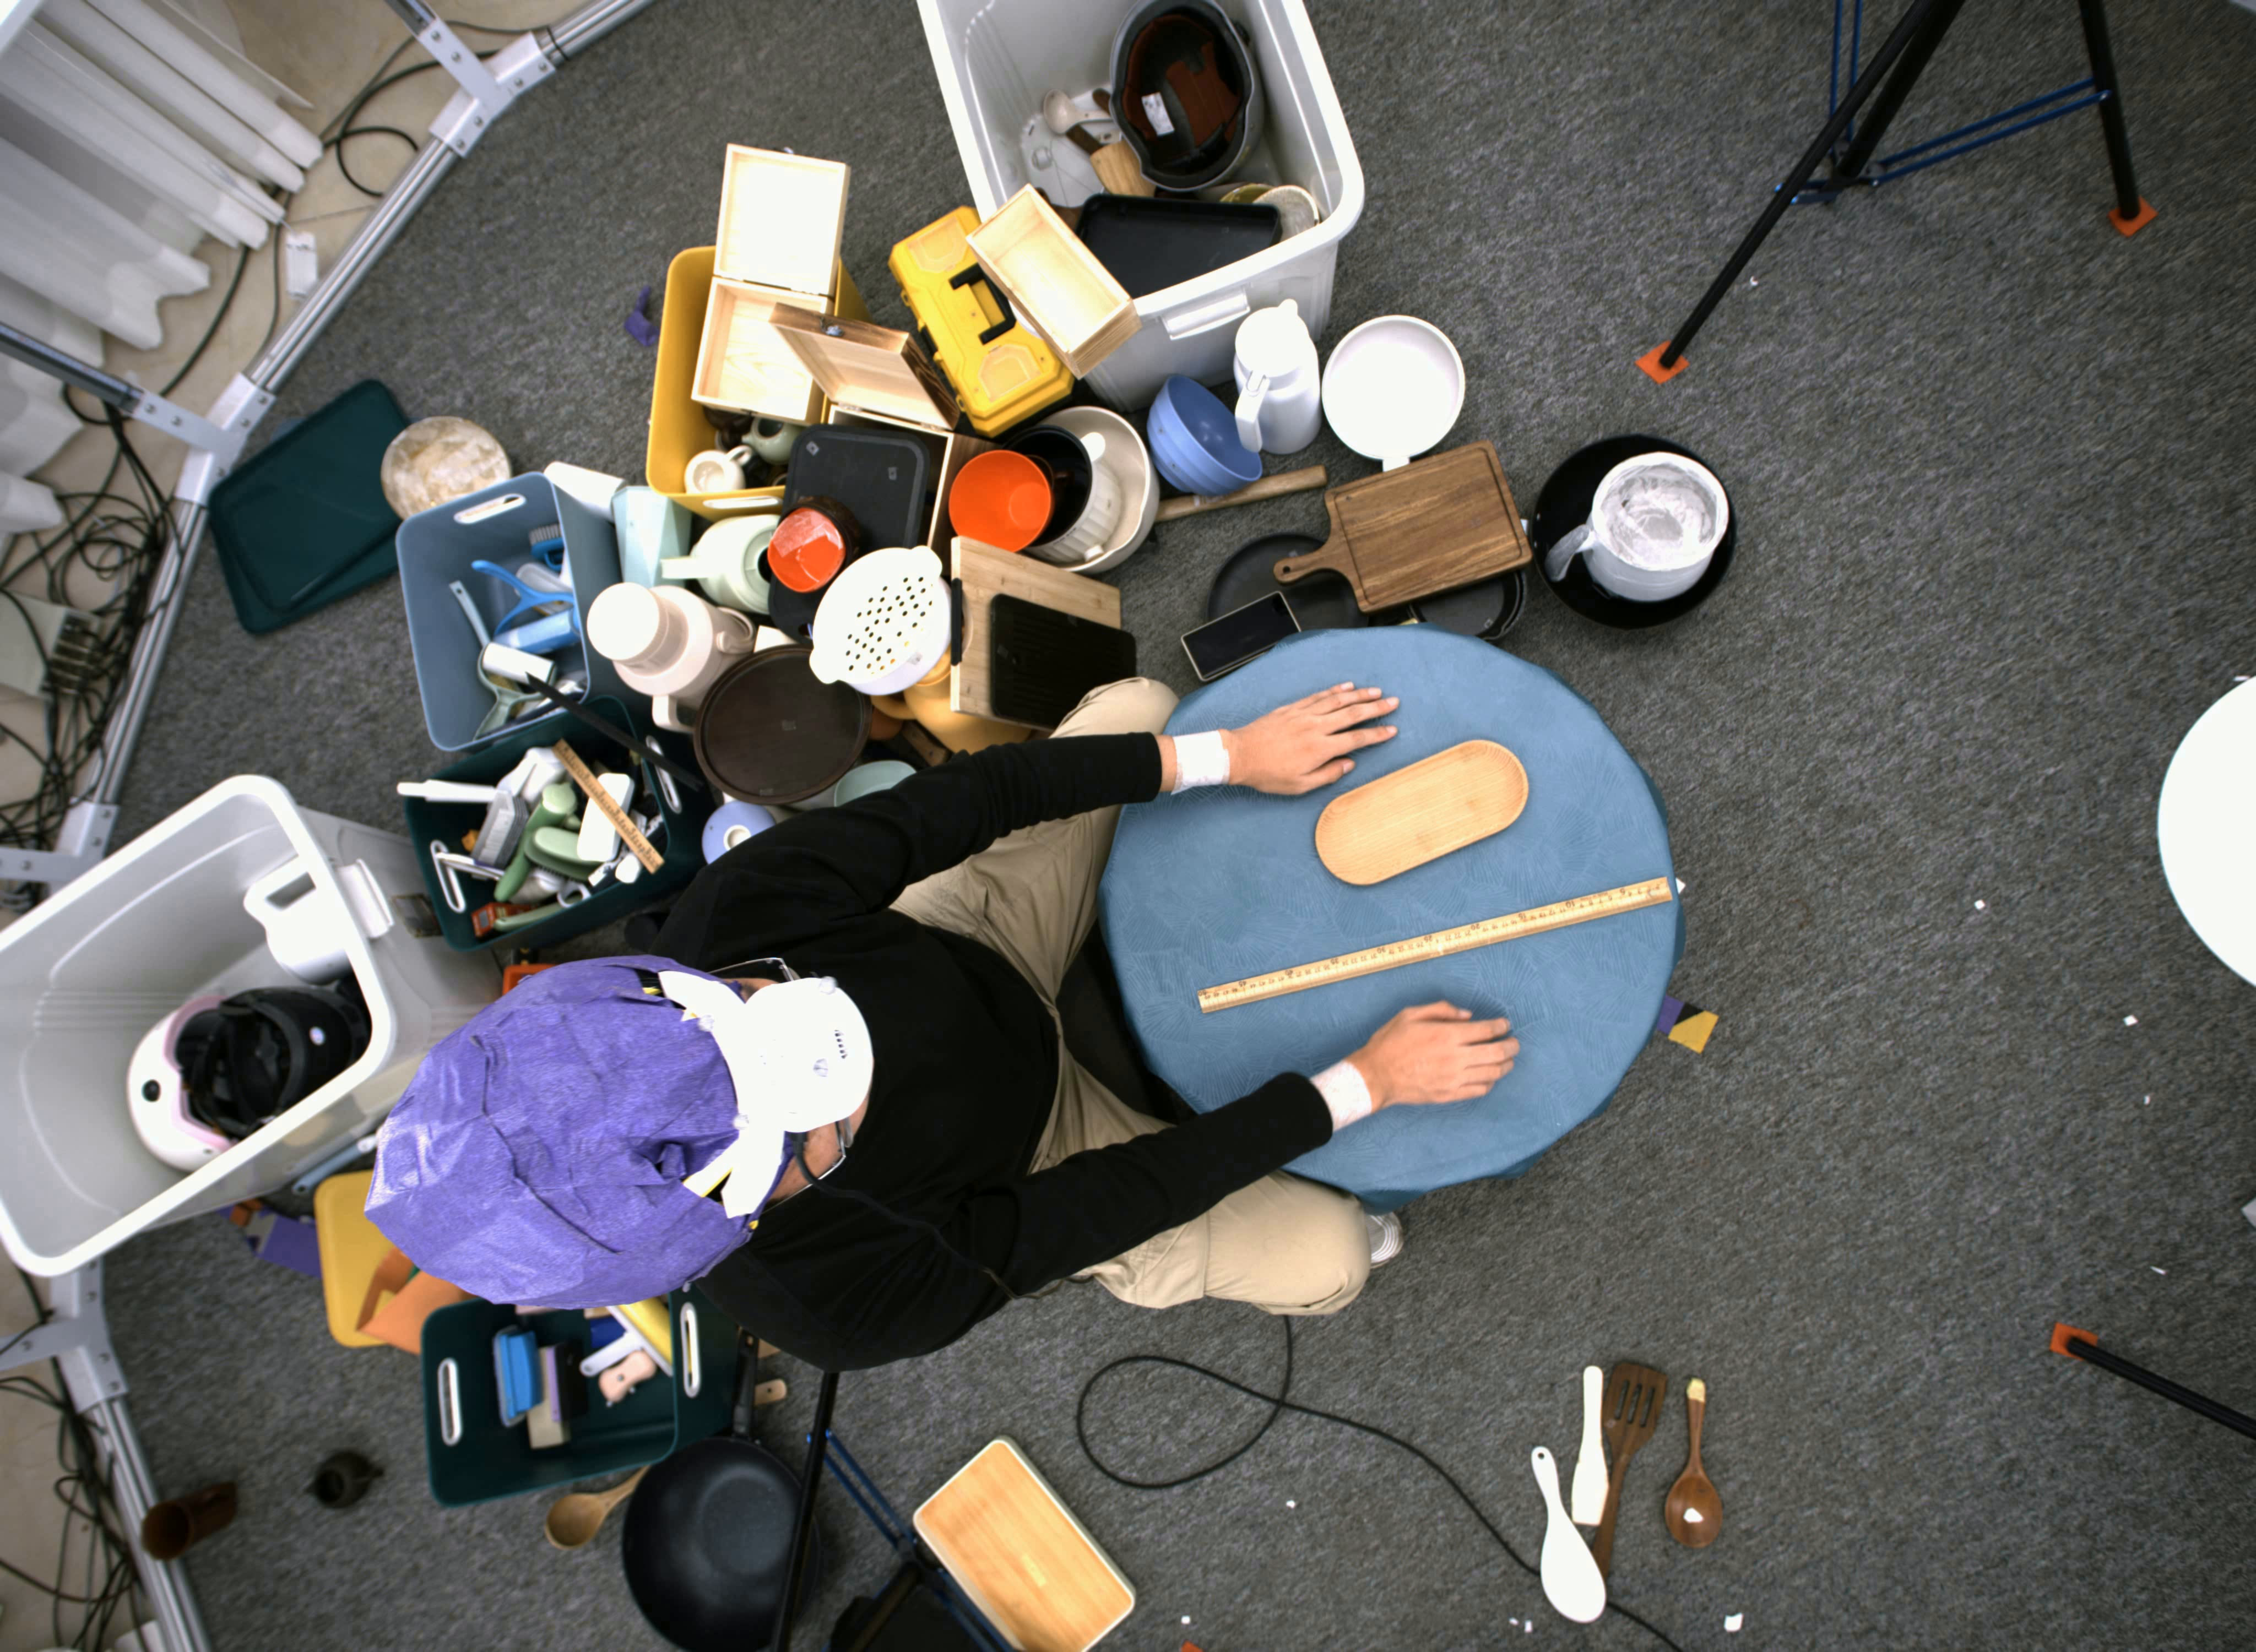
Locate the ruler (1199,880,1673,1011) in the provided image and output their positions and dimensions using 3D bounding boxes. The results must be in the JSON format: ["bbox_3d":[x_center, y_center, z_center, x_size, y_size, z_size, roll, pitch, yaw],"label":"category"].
[{"bbox_3d":[0.317,0.124,1.446,0.503,0.006,0.026,-14,83,10],"label":"ruler"}]

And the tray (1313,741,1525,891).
[{"bbox_3d":[0.305,-0.011,1.450,0.233,0.020,0.101,-26,81,10],"label":"tray"}]
